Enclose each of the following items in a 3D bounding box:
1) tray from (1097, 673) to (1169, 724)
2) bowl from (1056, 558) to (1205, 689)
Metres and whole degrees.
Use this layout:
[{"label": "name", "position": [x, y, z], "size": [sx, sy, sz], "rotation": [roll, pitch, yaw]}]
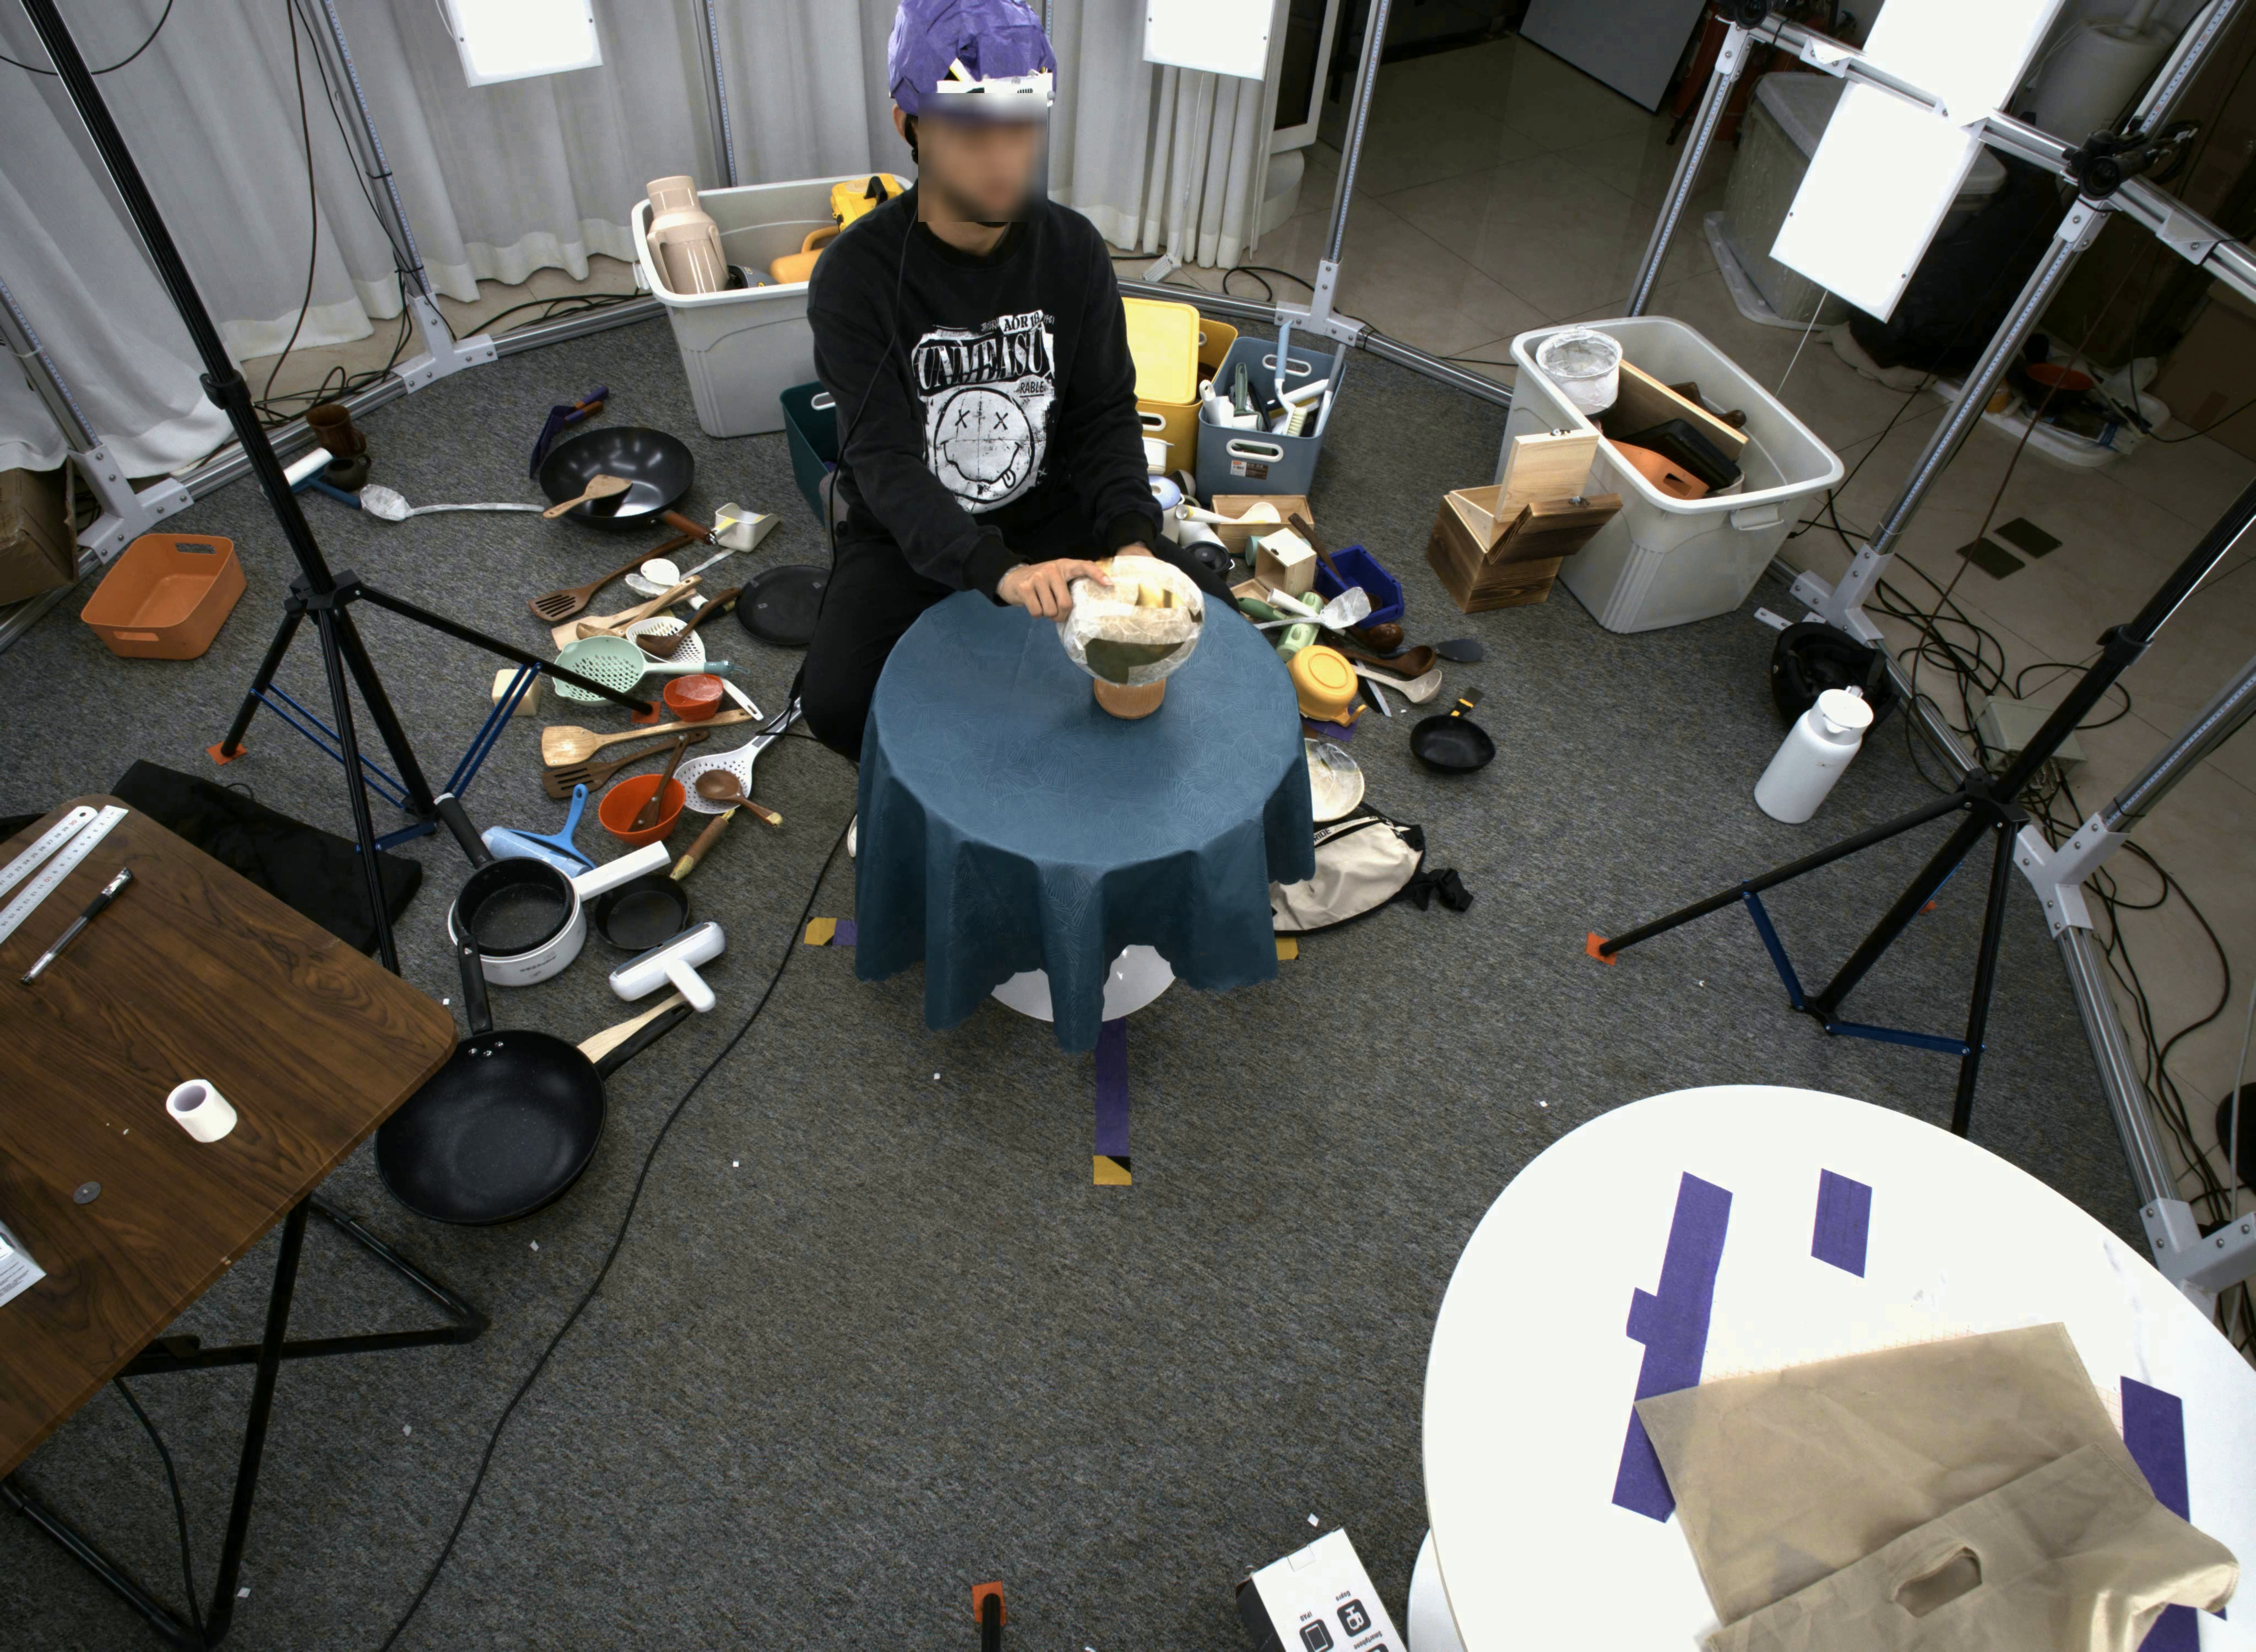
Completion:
[{"label": "tray", "position": [0.011, -0.250, 1.862], "size": [0.101, 0.020, 0.236], "rotation": [5, 63, 2]}, {"label": "bowl", "position": [0.002, -0.249, 1.717], "size": [0.214, 0.209, 0.097], "rotation": [3, 52, -2]}]
